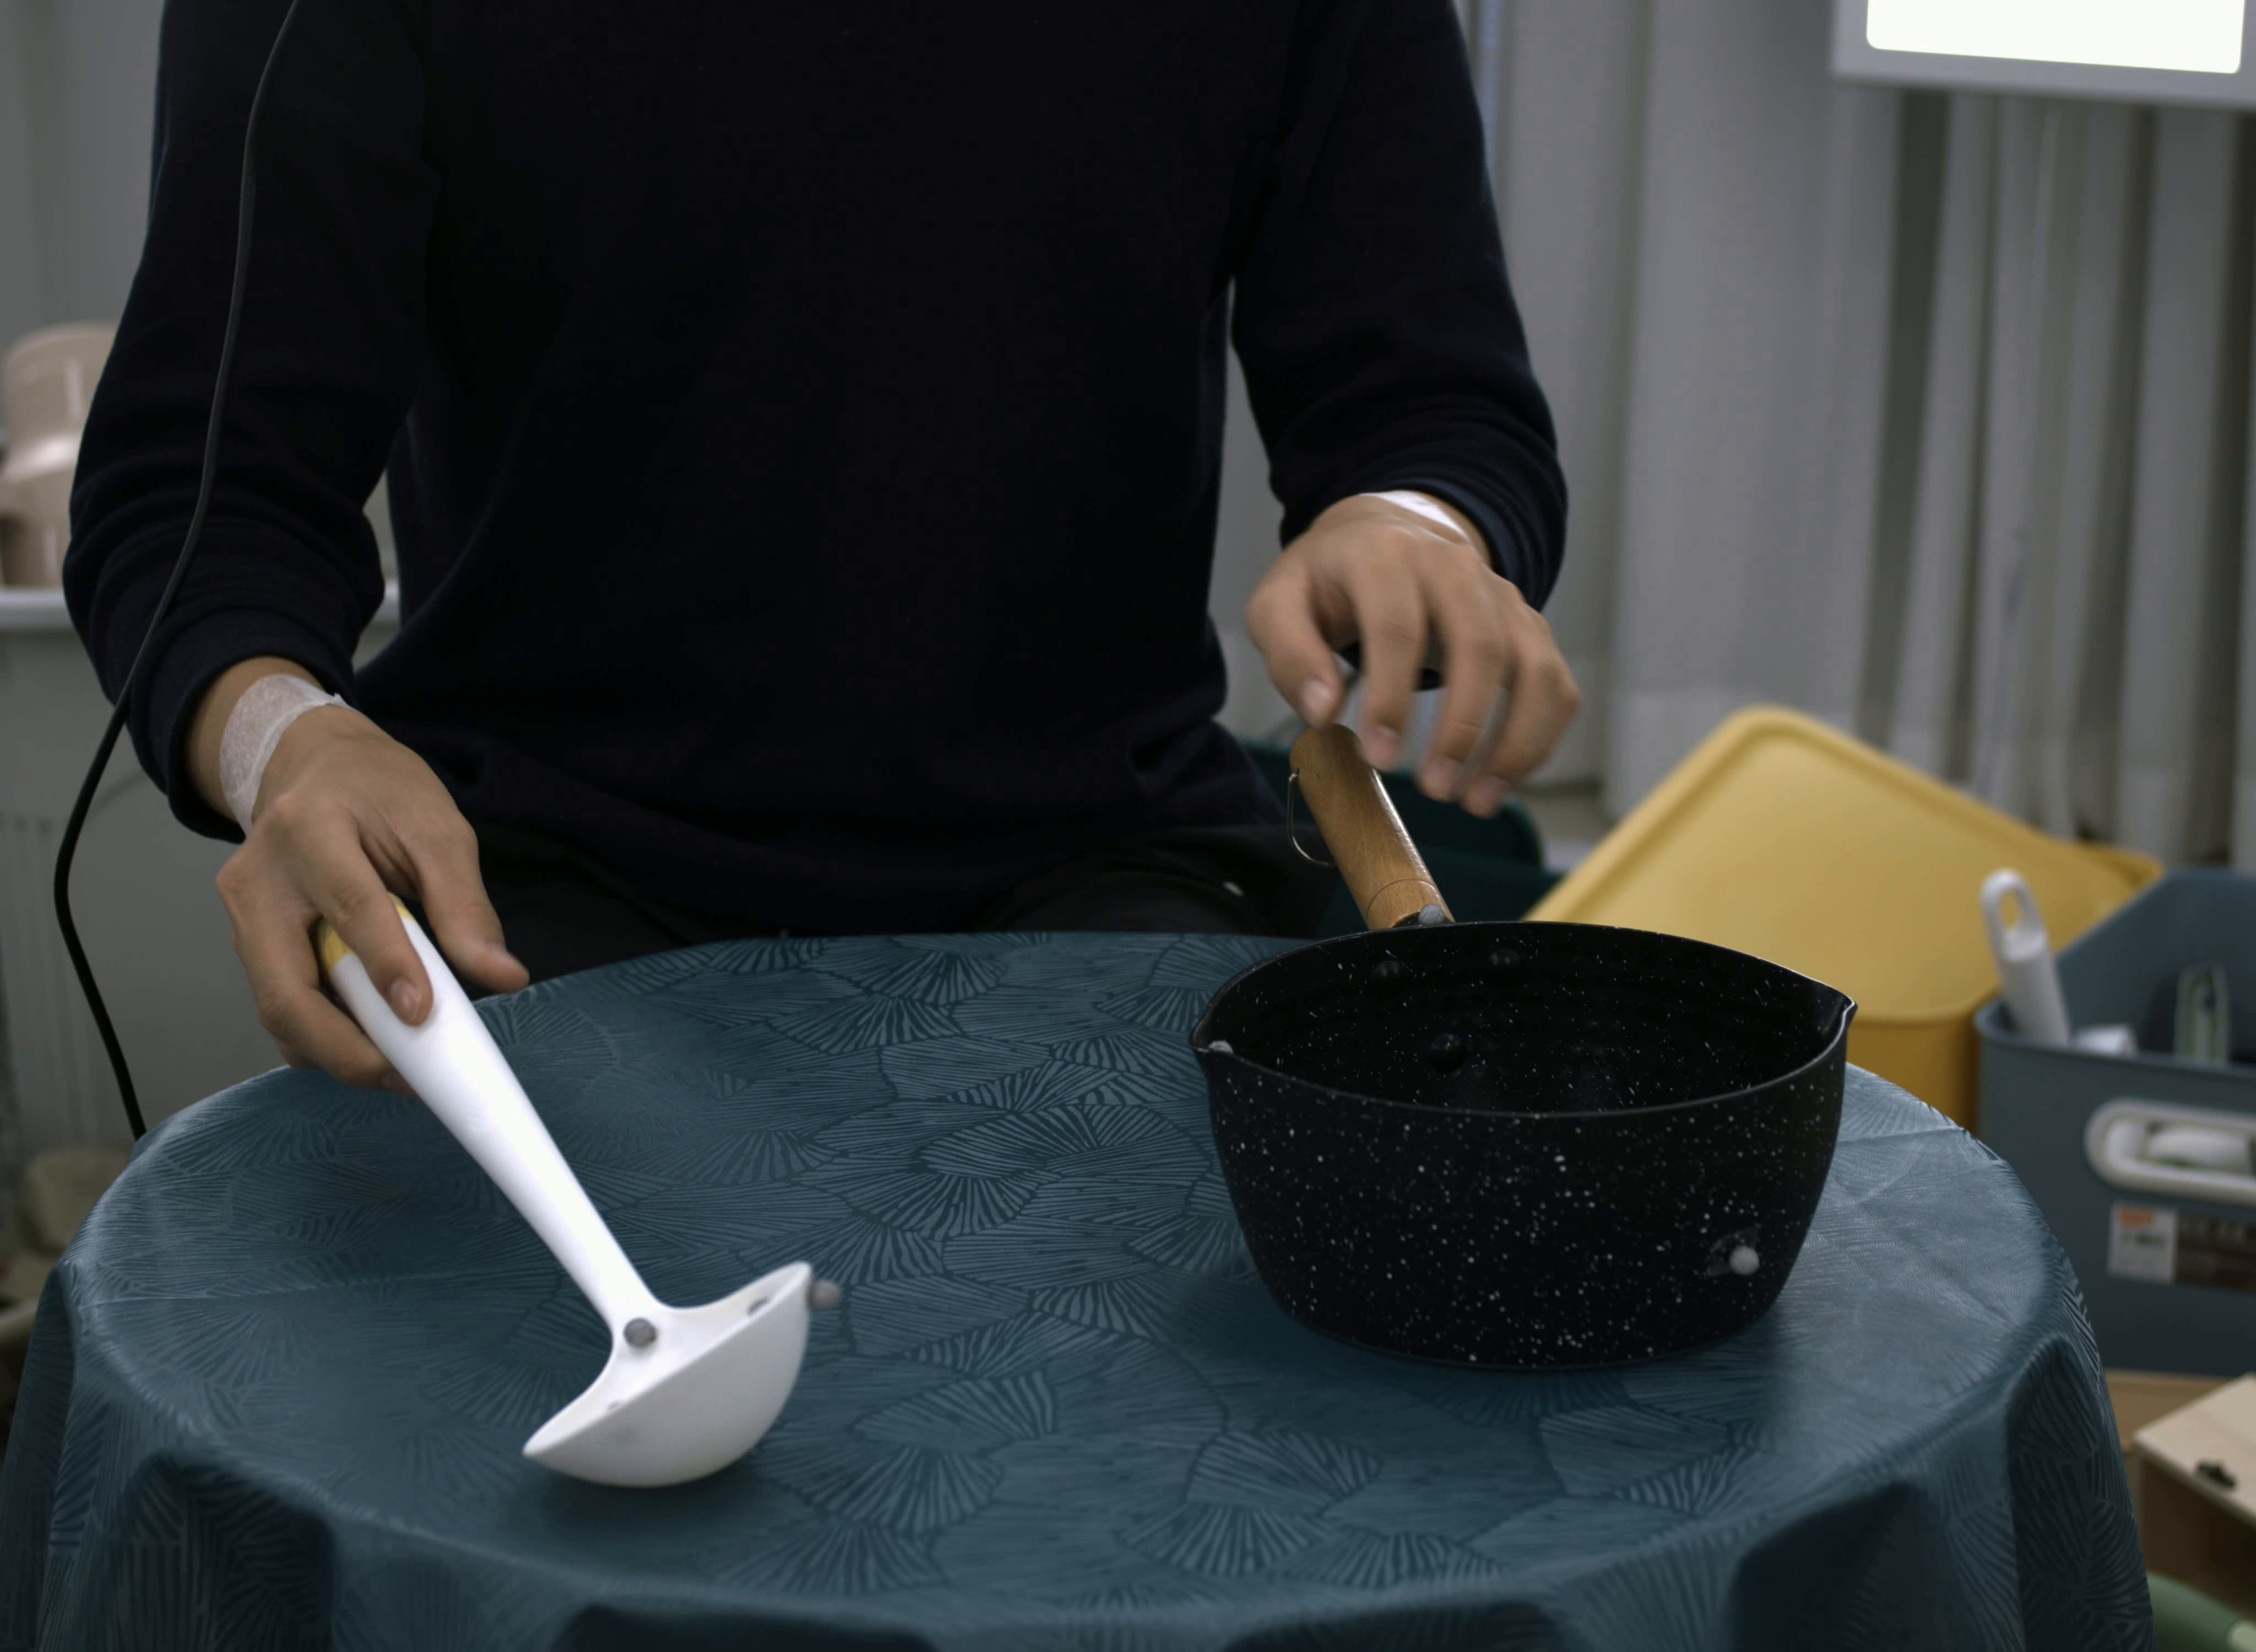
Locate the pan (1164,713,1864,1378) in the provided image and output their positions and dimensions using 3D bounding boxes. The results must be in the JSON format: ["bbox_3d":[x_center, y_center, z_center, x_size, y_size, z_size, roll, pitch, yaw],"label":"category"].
[{"bbox_3d":[0.097,0.061,1.605,0.207,0.109,0.339,-4,18,-12],"label":"pan"}]

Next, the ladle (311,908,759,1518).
[{"bbox_3d":[-0.178,0.097,1.471,0.090,0.071,0.289,-41,41,-1],"label":"ladle"}]
